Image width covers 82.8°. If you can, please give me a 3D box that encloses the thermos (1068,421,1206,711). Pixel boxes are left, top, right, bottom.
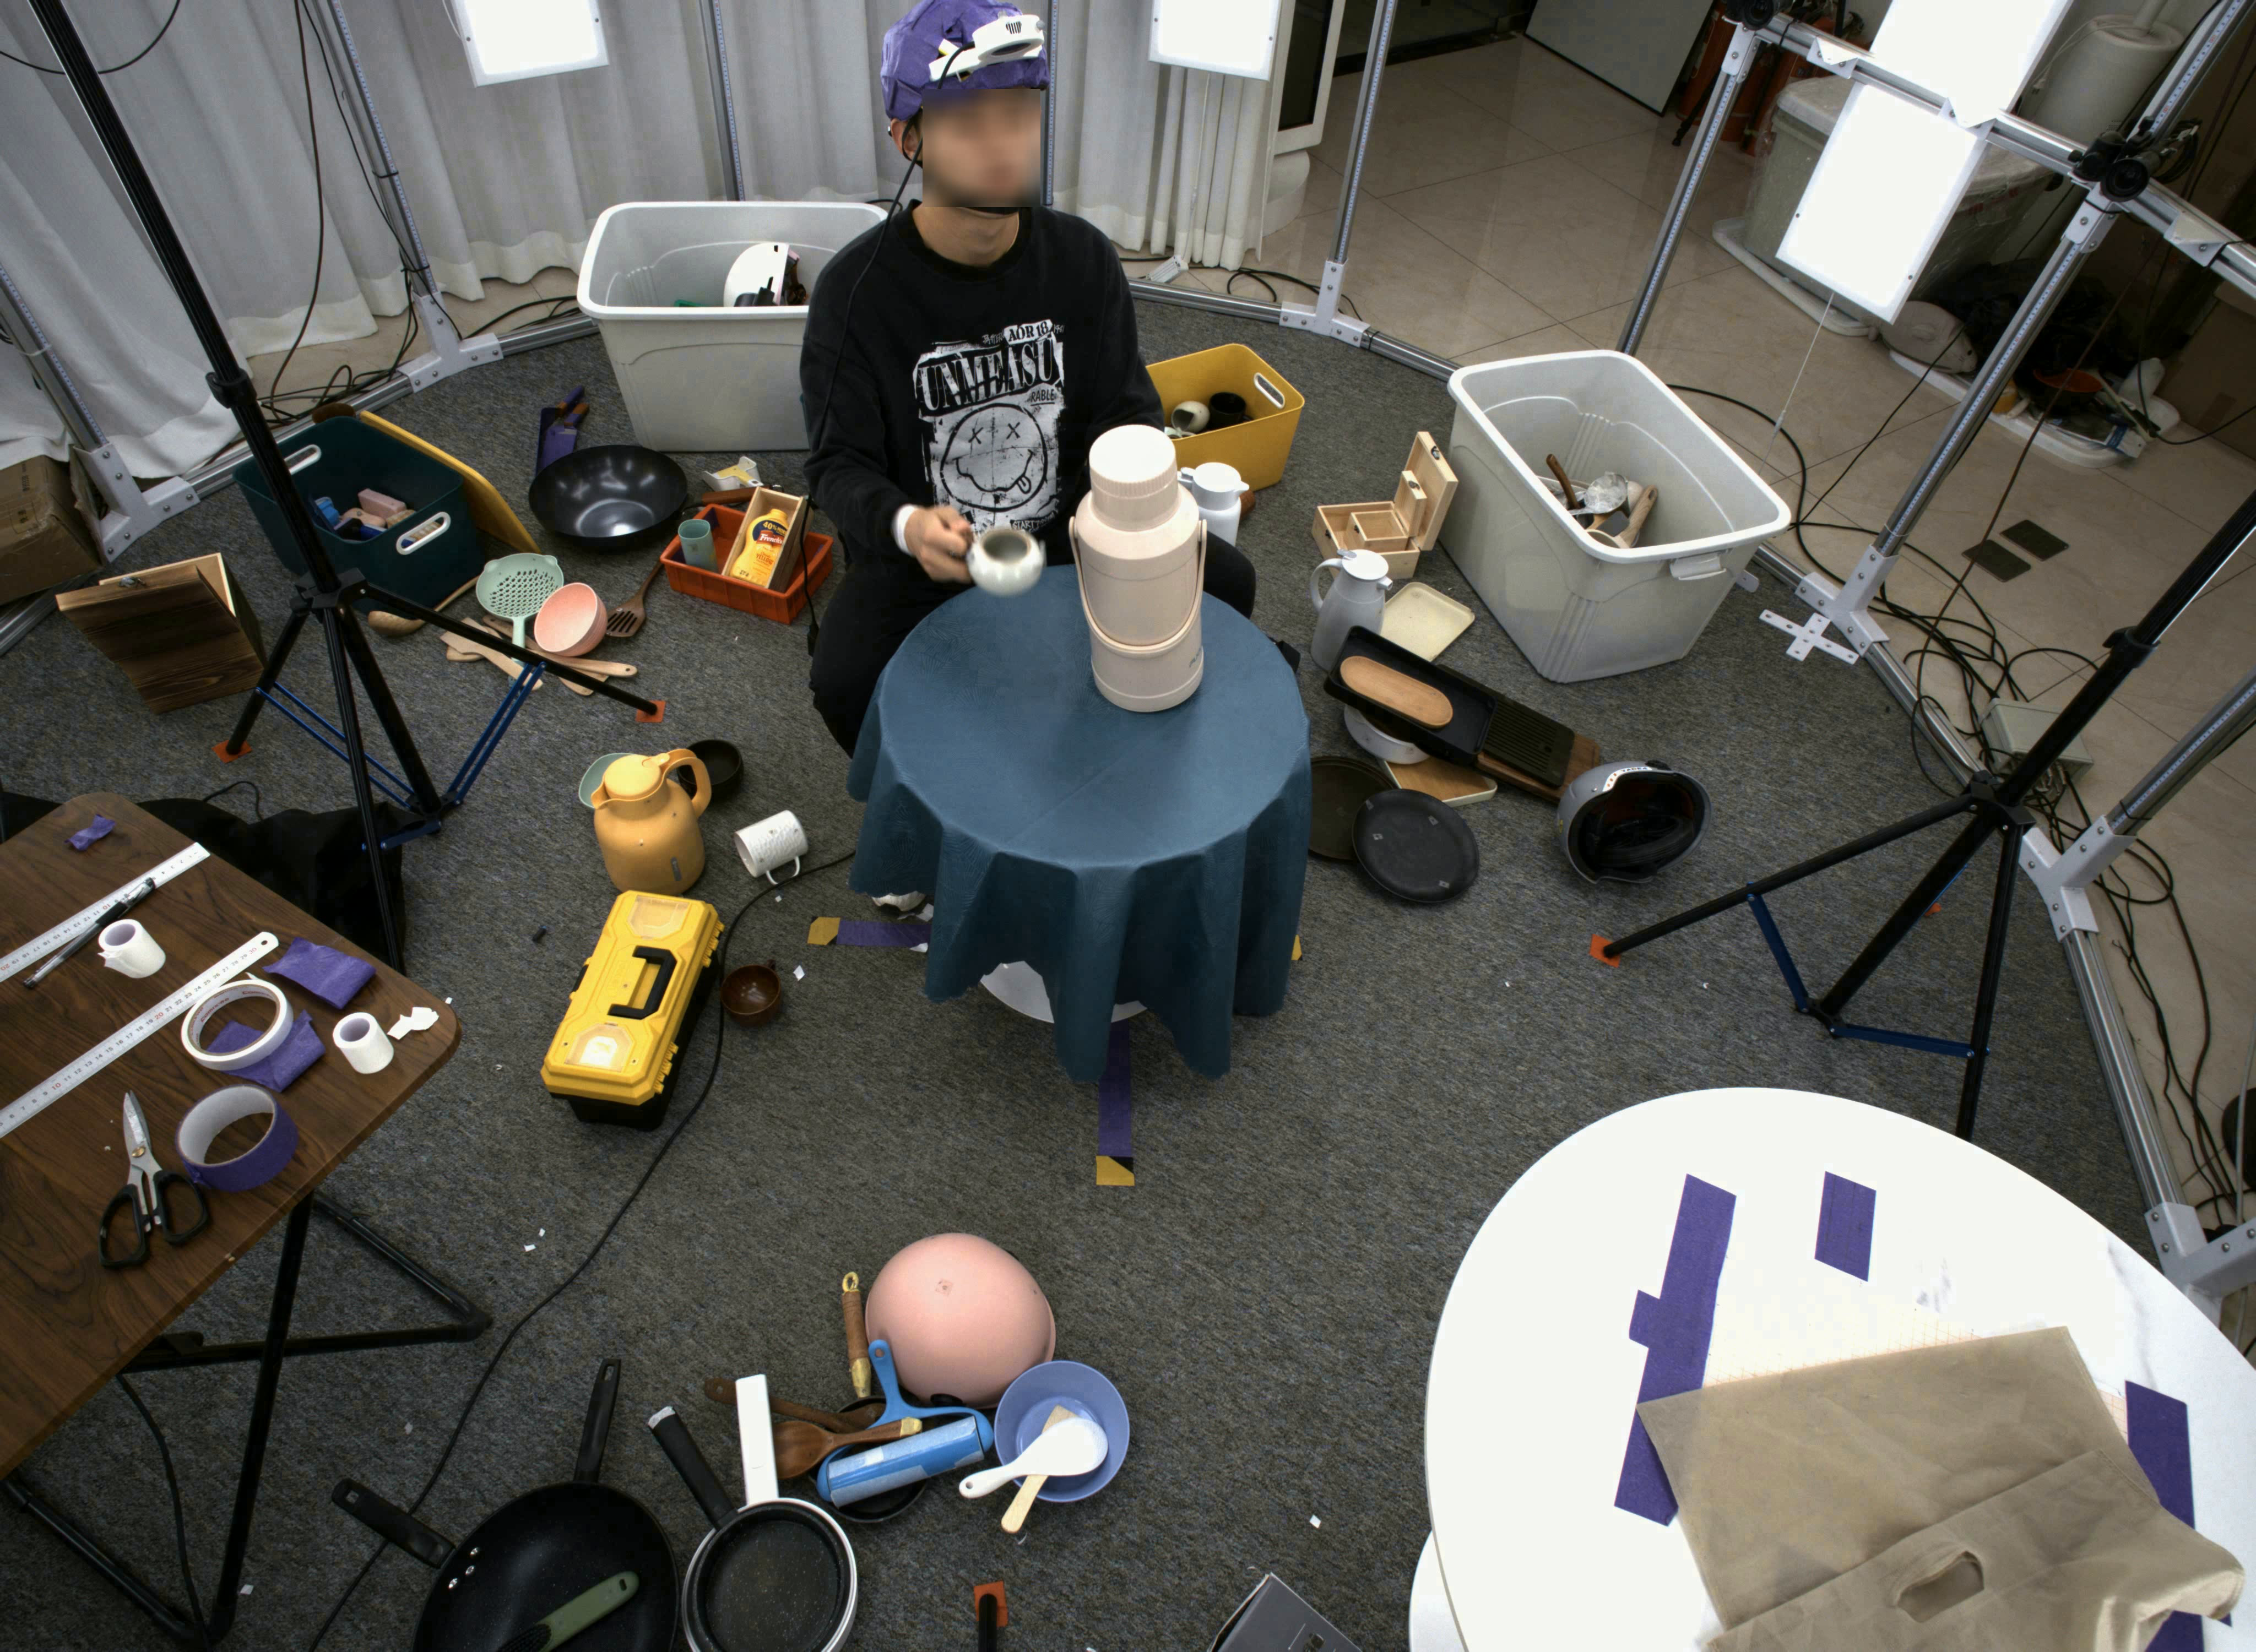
[{"bbox_3d":[0.020,-0.348,1.703,0.175,0.396,0.212,1,56,7],"label":"thermos"}]

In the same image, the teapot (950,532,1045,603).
[{"bbox_3d":[-0.160,-0.318,1.574,0.128,0.058,0.093,22,59,10],"label":"teapot"}]
